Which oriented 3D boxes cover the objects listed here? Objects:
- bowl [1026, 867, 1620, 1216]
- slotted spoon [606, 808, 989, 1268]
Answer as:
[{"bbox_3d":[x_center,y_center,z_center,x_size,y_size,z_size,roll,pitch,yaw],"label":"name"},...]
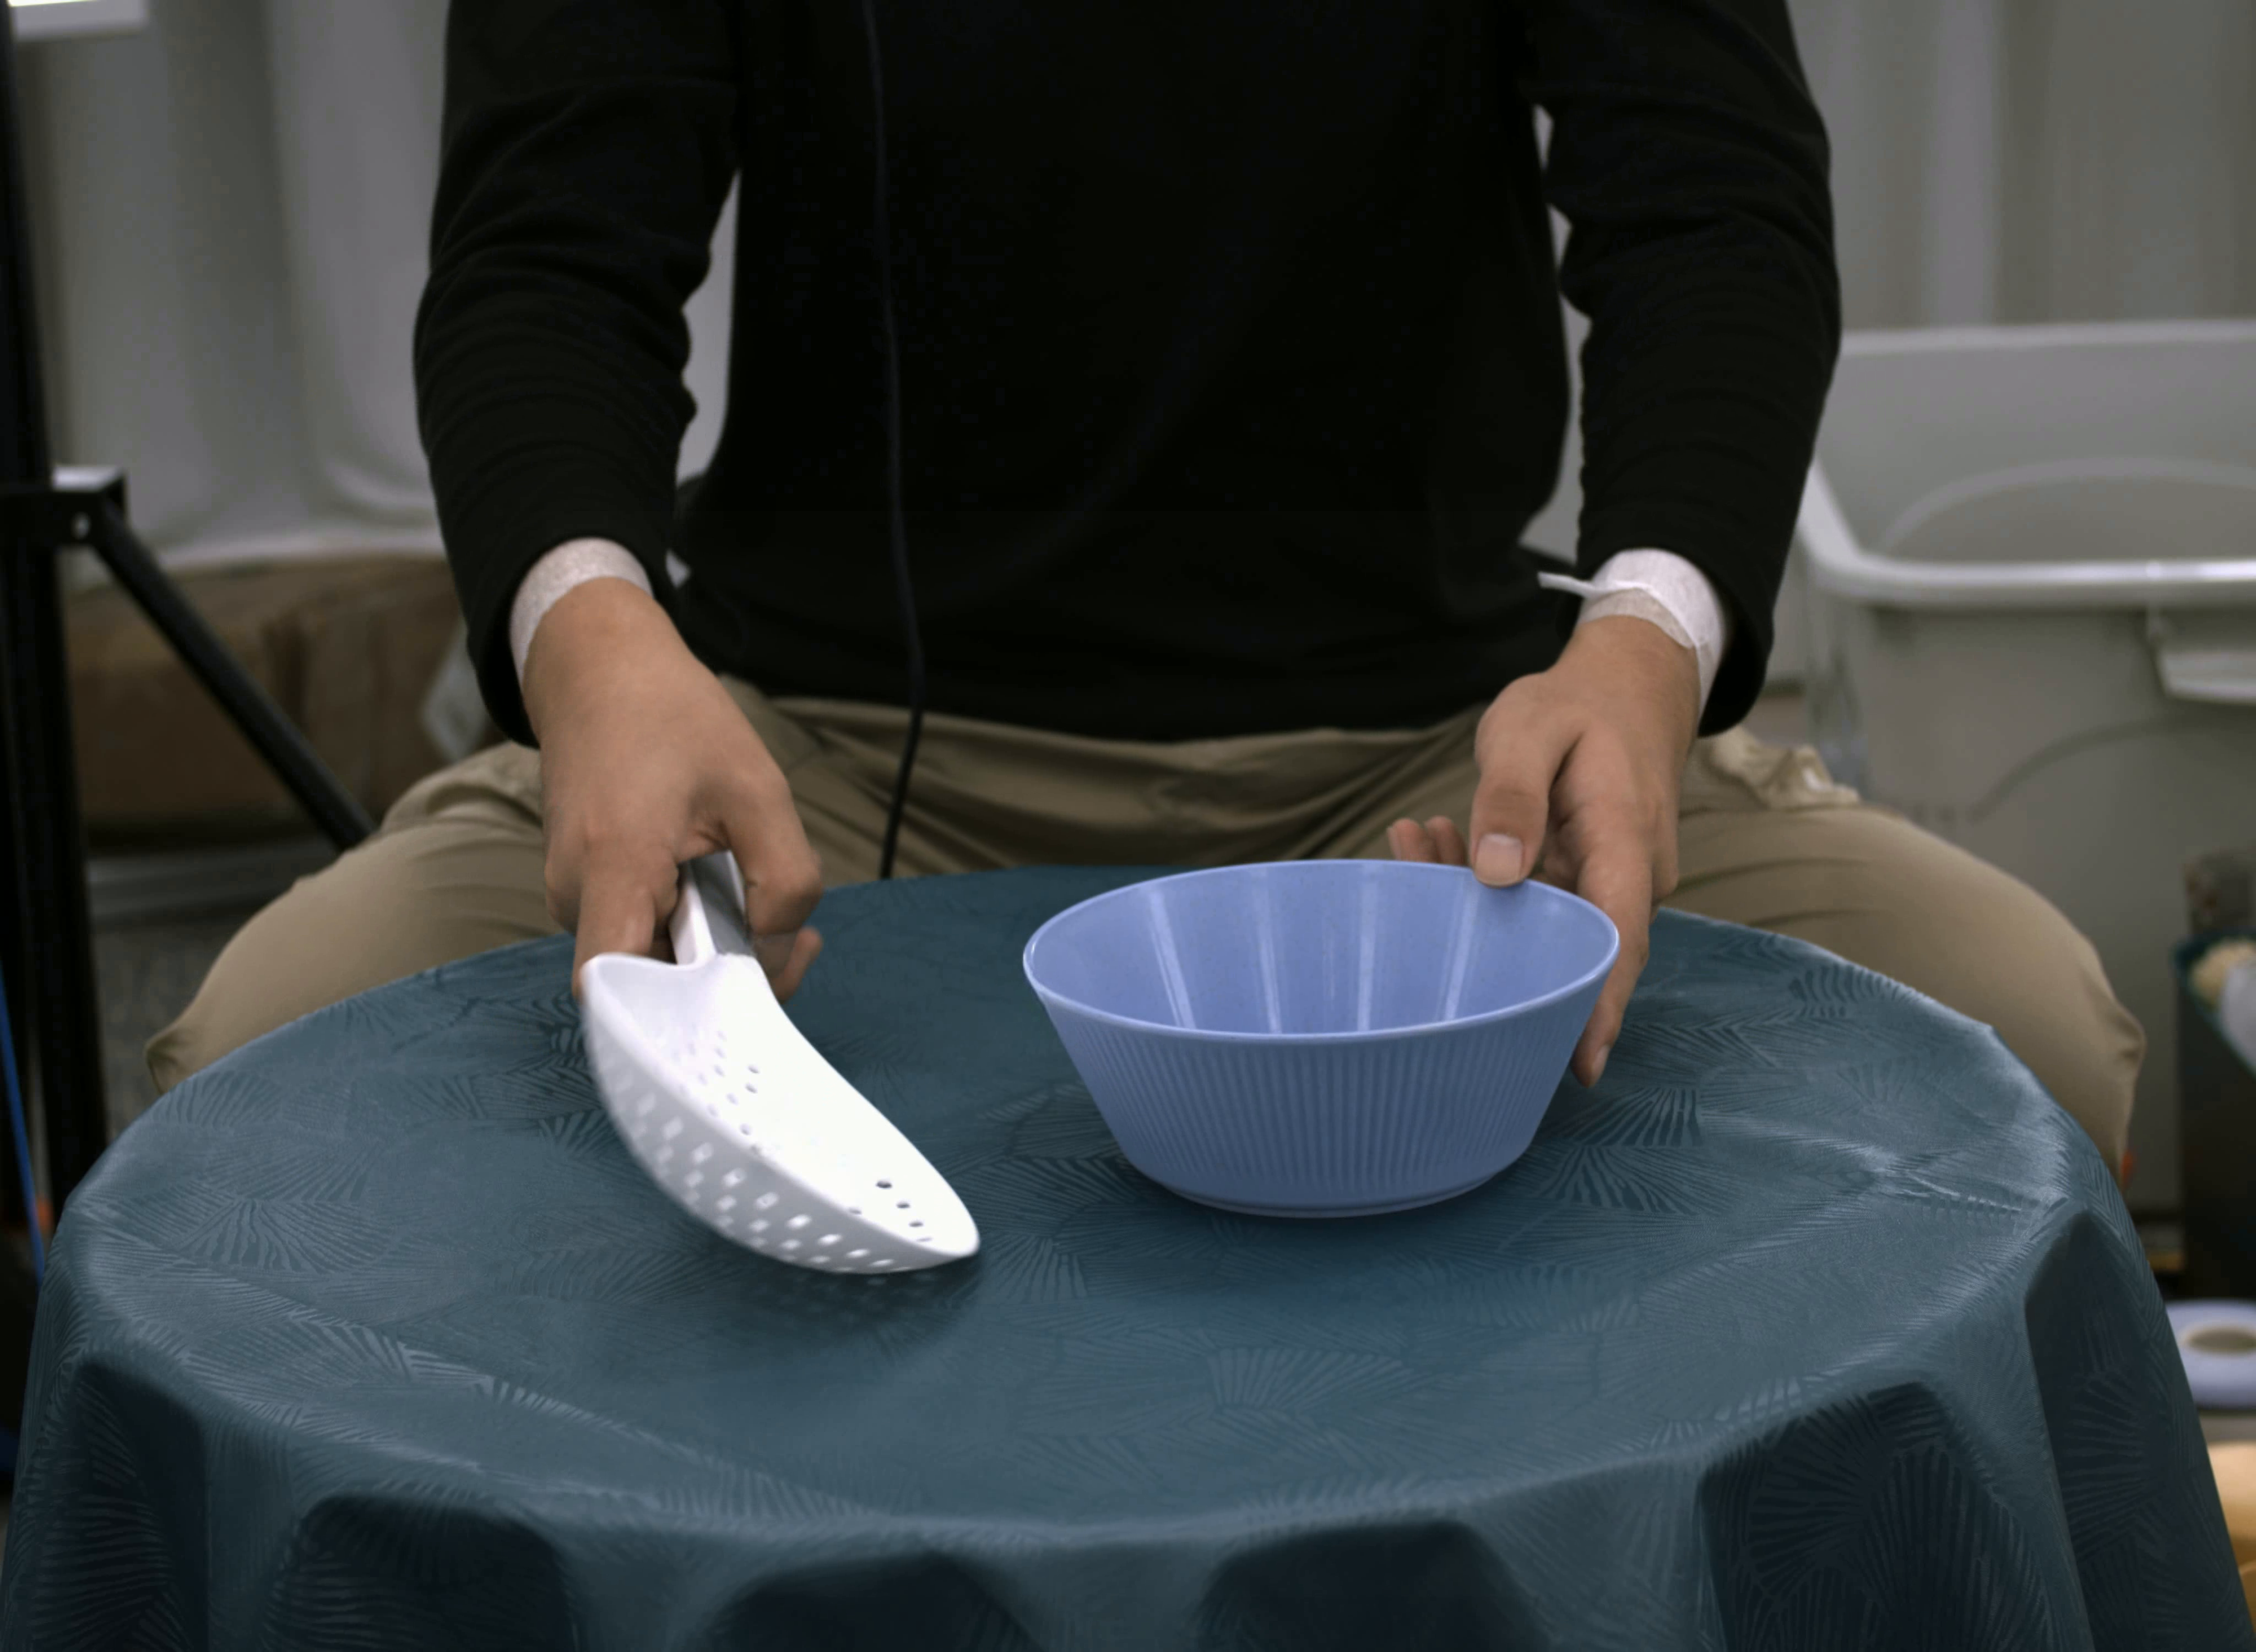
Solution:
[{"bbox_3d":[0.058,0.066,1.570,0.175,0.070,0.177,-3,14,-1],"label":"bowl"},{"bbox_3d":[-0.118,0.052,1.603,0.134,0.046,0.353,37,10,-18],"label":"slotted spoon"}]
